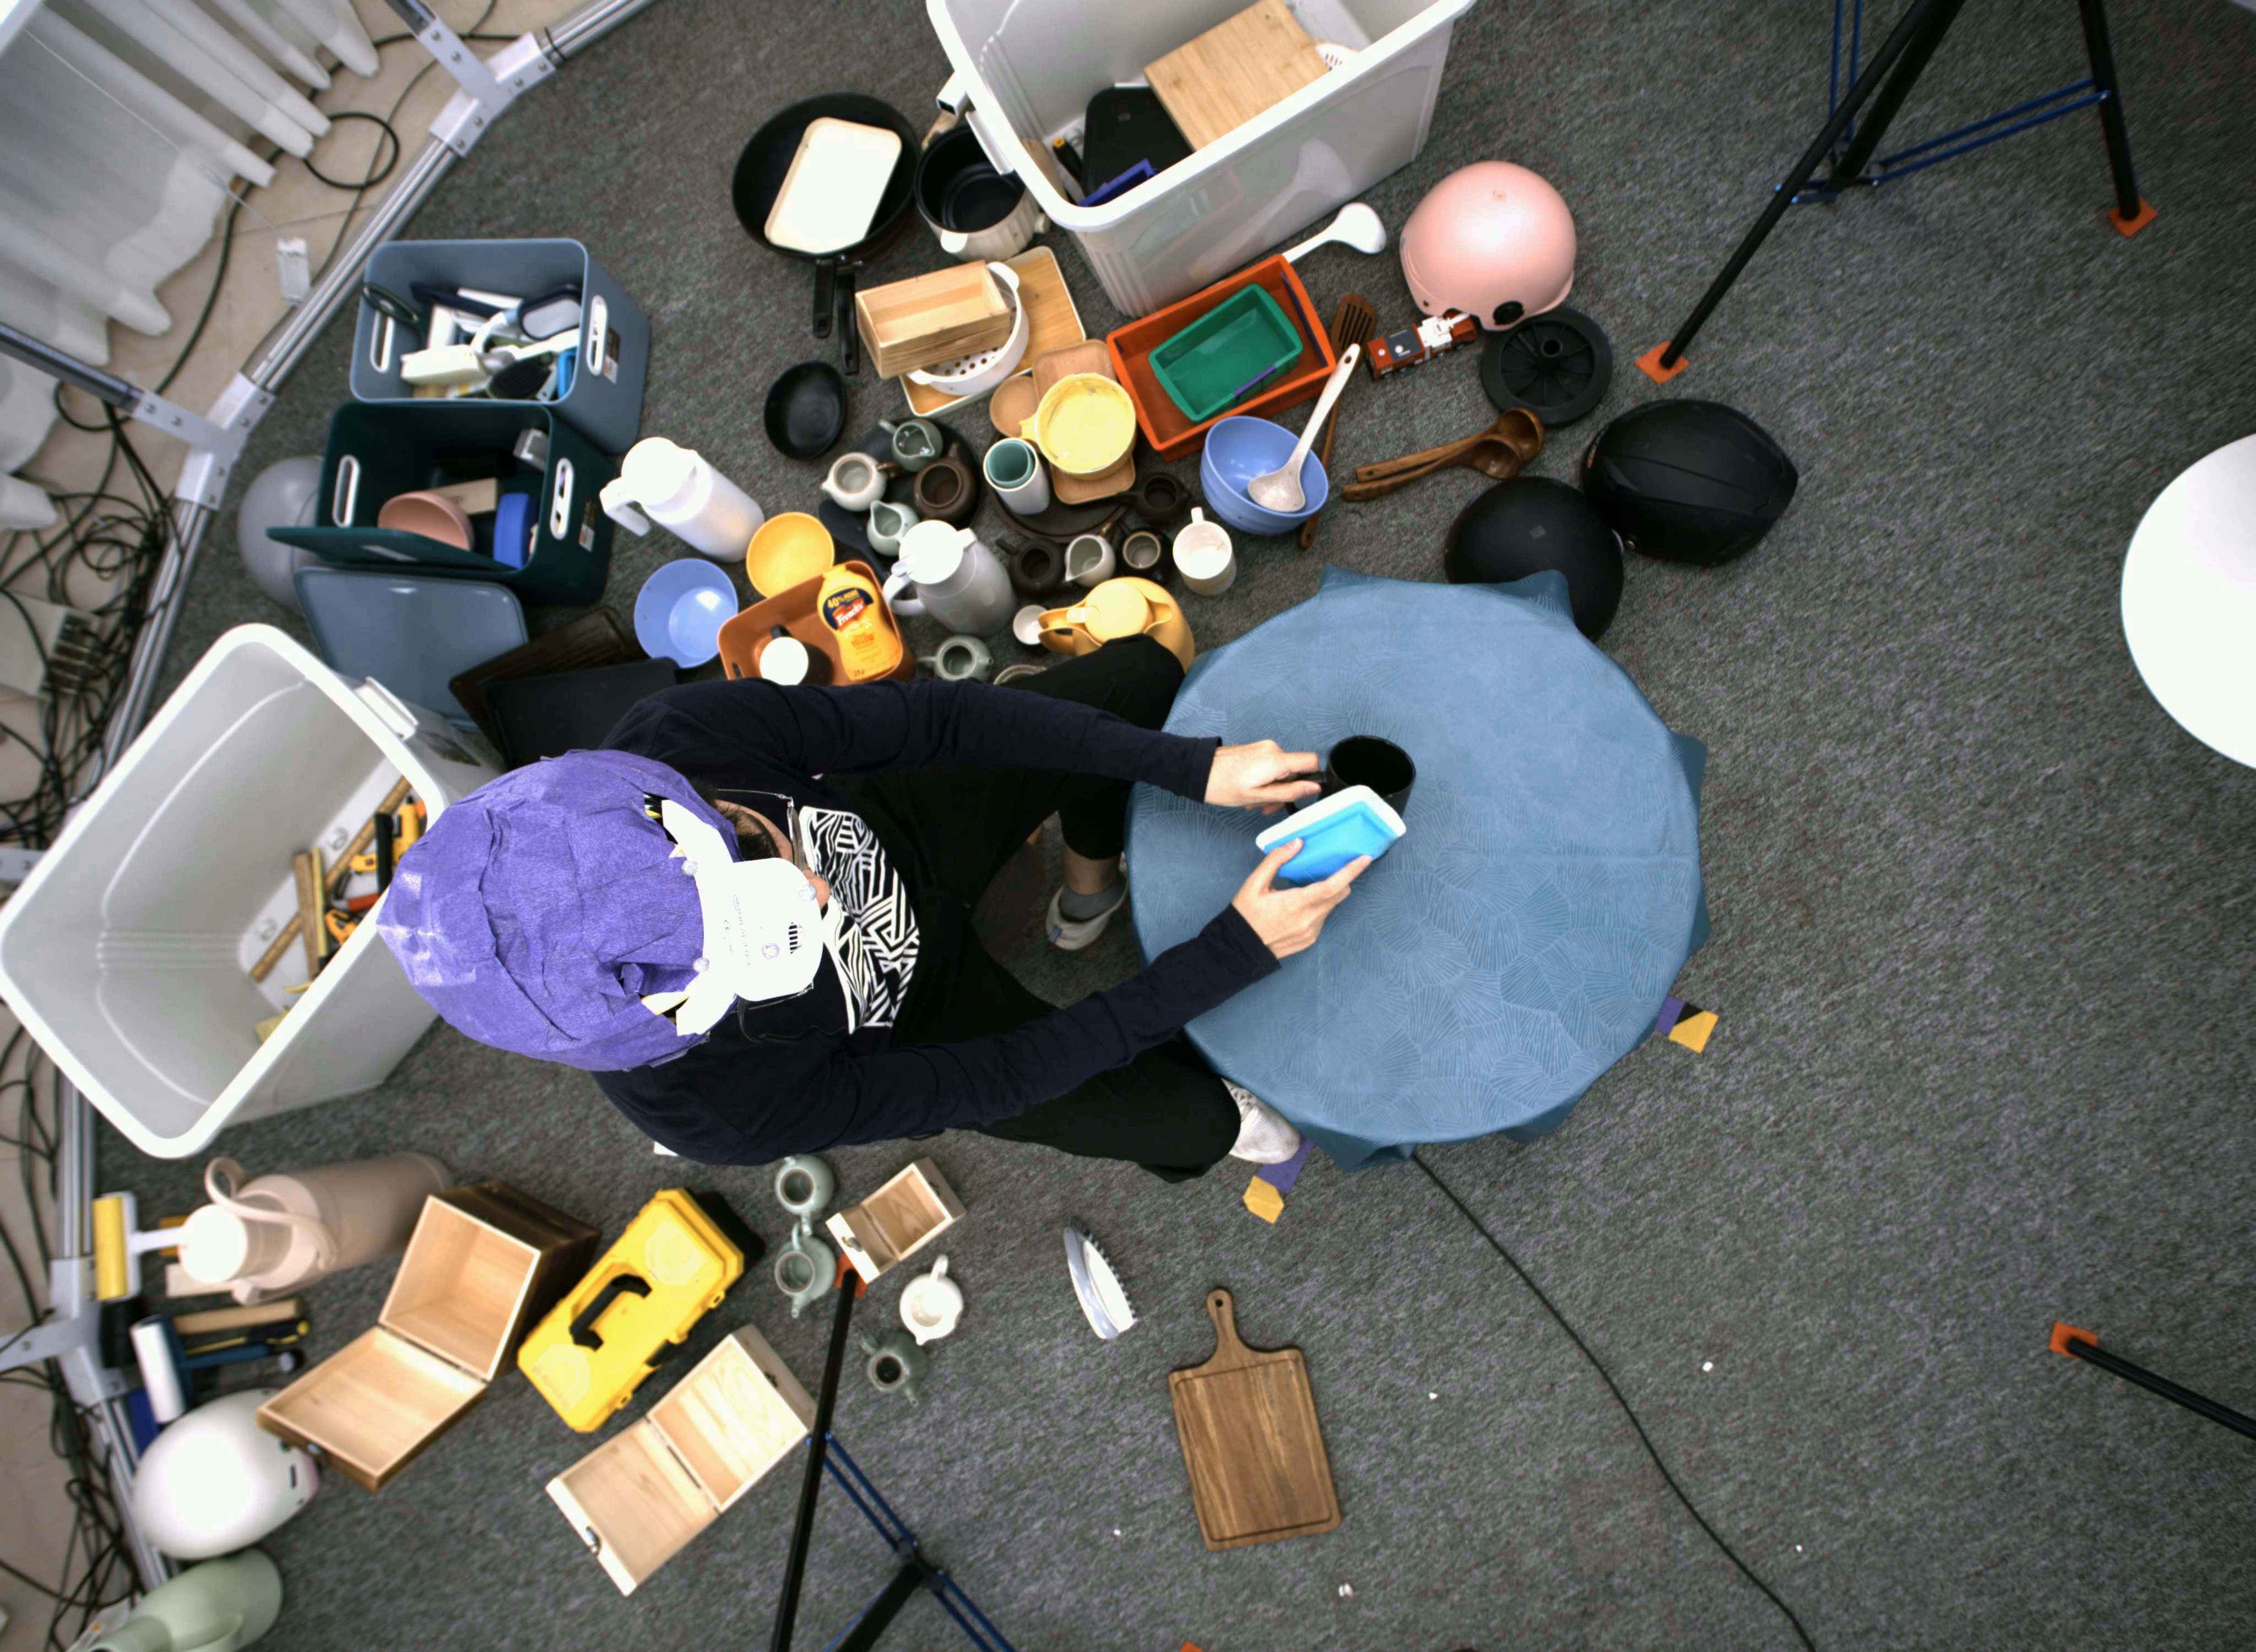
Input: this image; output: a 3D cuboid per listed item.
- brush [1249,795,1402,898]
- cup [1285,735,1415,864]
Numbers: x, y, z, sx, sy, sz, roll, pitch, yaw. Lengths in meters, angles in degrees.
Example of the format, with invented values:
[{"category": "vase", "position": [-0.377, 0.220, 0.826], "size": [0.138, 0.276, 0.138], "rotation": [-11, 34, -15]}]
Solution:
[{"category": "brush", "position": [0.193, 0.027, 1.358], "size": [0.146, 0.054, 0.085], "rotation": [-27, 125, 30]}, {"category": "cup", "position": [0.220, -0.028, 1.395], "size": [0.124, 0.108, 0.086], "rotation": [1, 51, -2]}]
